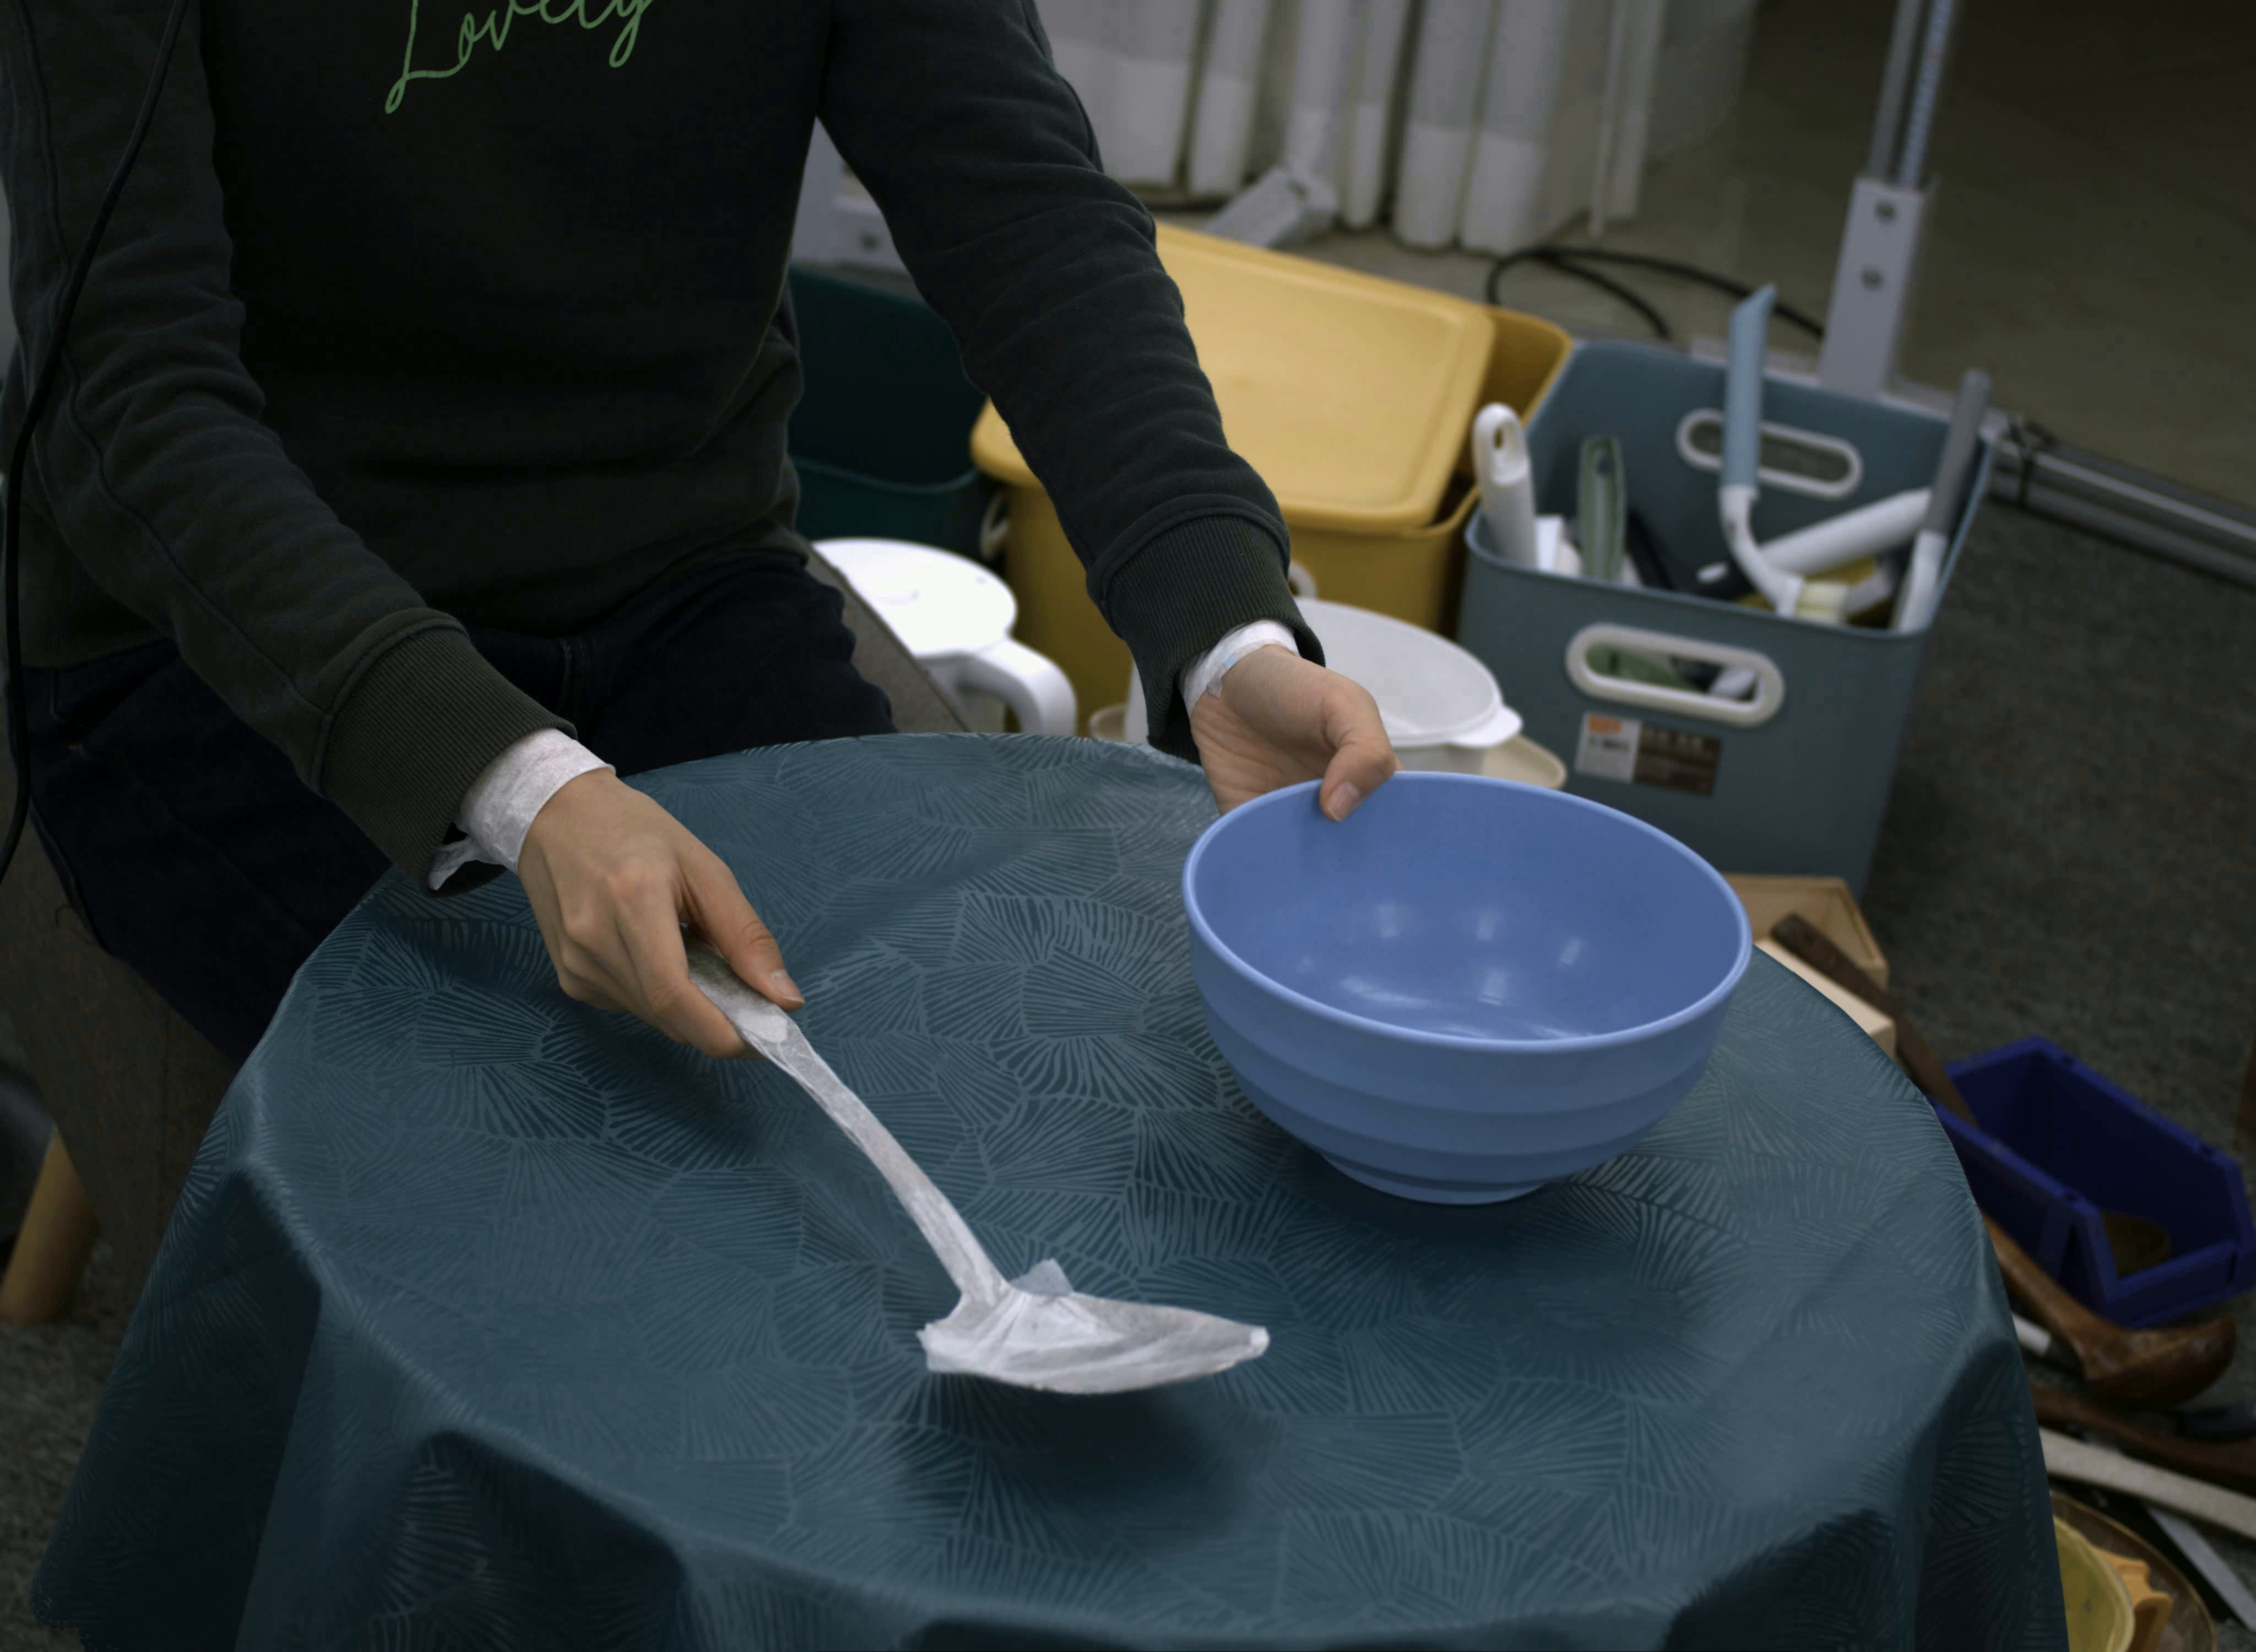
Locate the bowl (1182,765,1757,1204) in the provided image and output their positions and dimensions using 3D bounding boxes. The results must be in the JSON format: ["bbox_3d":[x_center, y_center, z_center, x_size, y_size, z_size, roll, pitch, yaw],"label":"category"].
[{"bbox_3d":[0.112,0.066,1.831,0.196,0.095,0.198,4,29,-2],"label":"bowl"}]

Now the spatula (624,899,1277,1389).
[{"bbox_3d":[-0.082,0.097,1.752,0.098,0.044,0.368,-9,33,-31],"label":"spatula"}]
